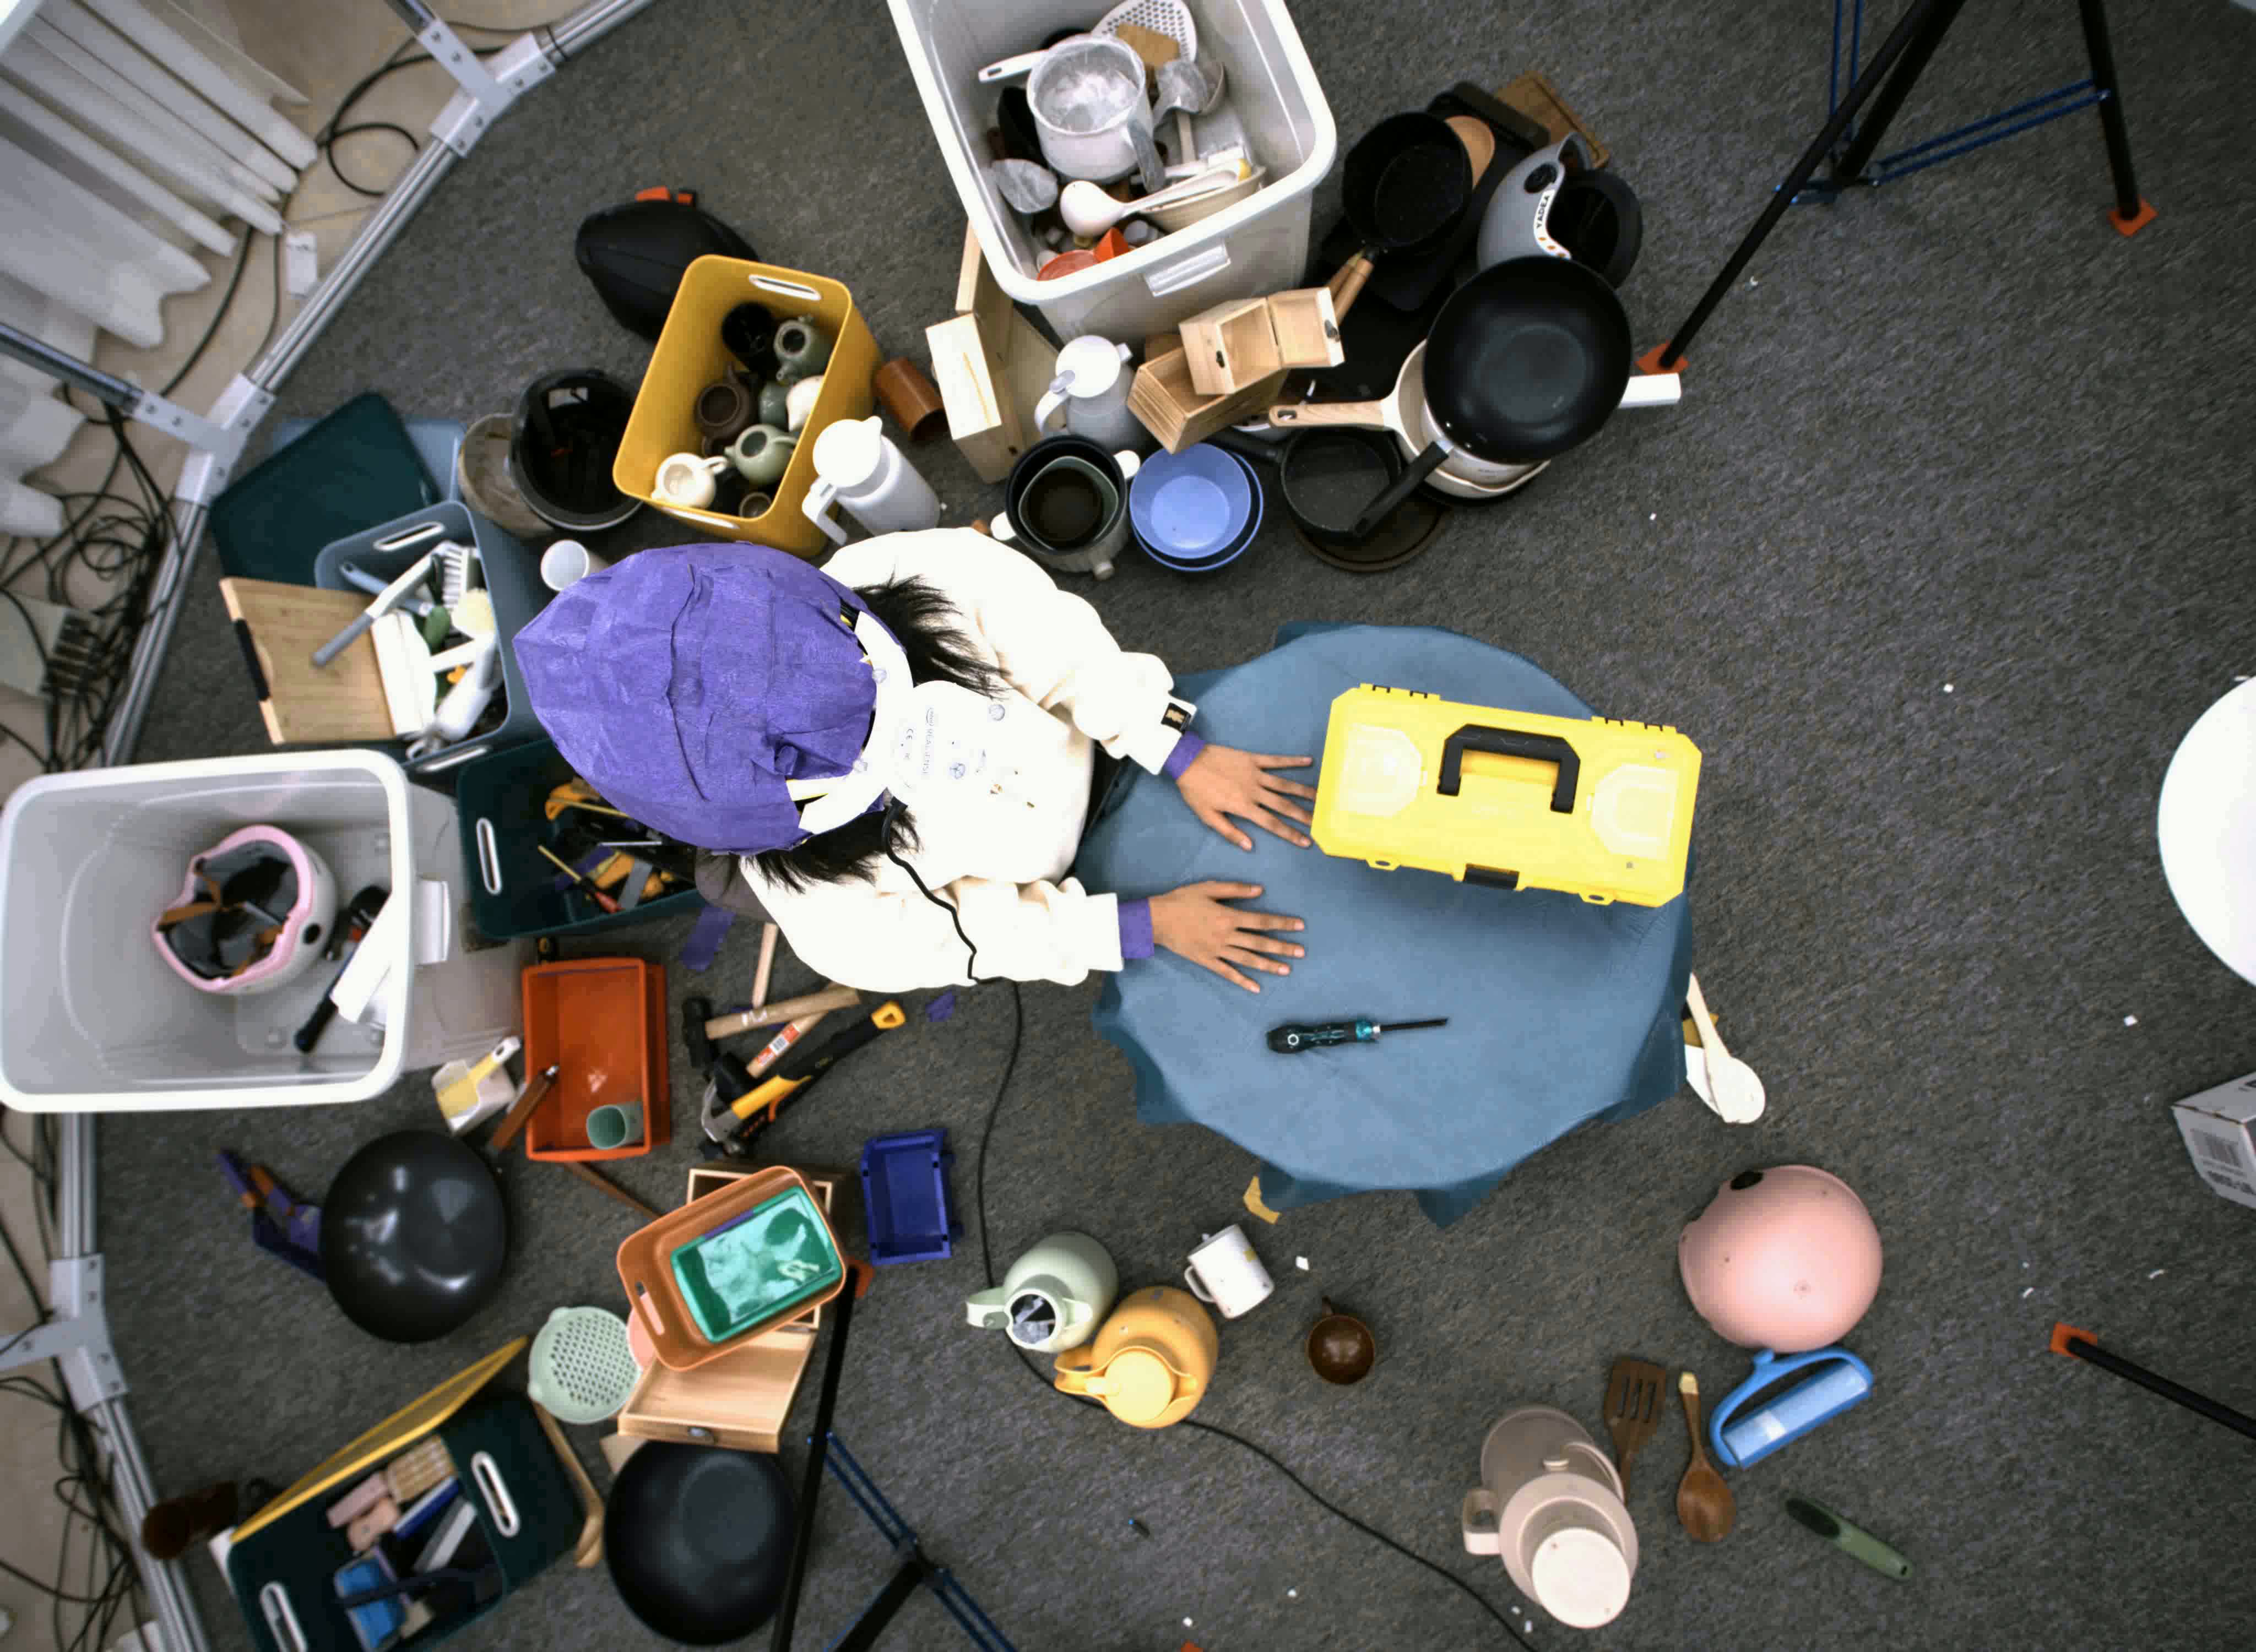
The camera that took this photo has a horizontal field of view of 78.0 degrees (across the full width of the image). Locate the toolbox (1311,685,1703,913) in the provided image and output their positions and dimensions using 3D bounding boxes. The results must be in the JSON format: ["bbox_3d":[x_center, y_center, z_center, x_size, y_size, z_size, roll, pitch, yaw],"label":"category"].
[{"bbox_3d":[0.366,-0.027,1.360,0.352,0.173,0.181,10,87,11],"label":"toolbox"}]

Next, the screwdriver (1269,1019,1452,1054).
[{"bbox_3d":[0.243,0.214,1.446,0.190,0.034,0.033,-7,84,5],"label":"screwdriver"}]
